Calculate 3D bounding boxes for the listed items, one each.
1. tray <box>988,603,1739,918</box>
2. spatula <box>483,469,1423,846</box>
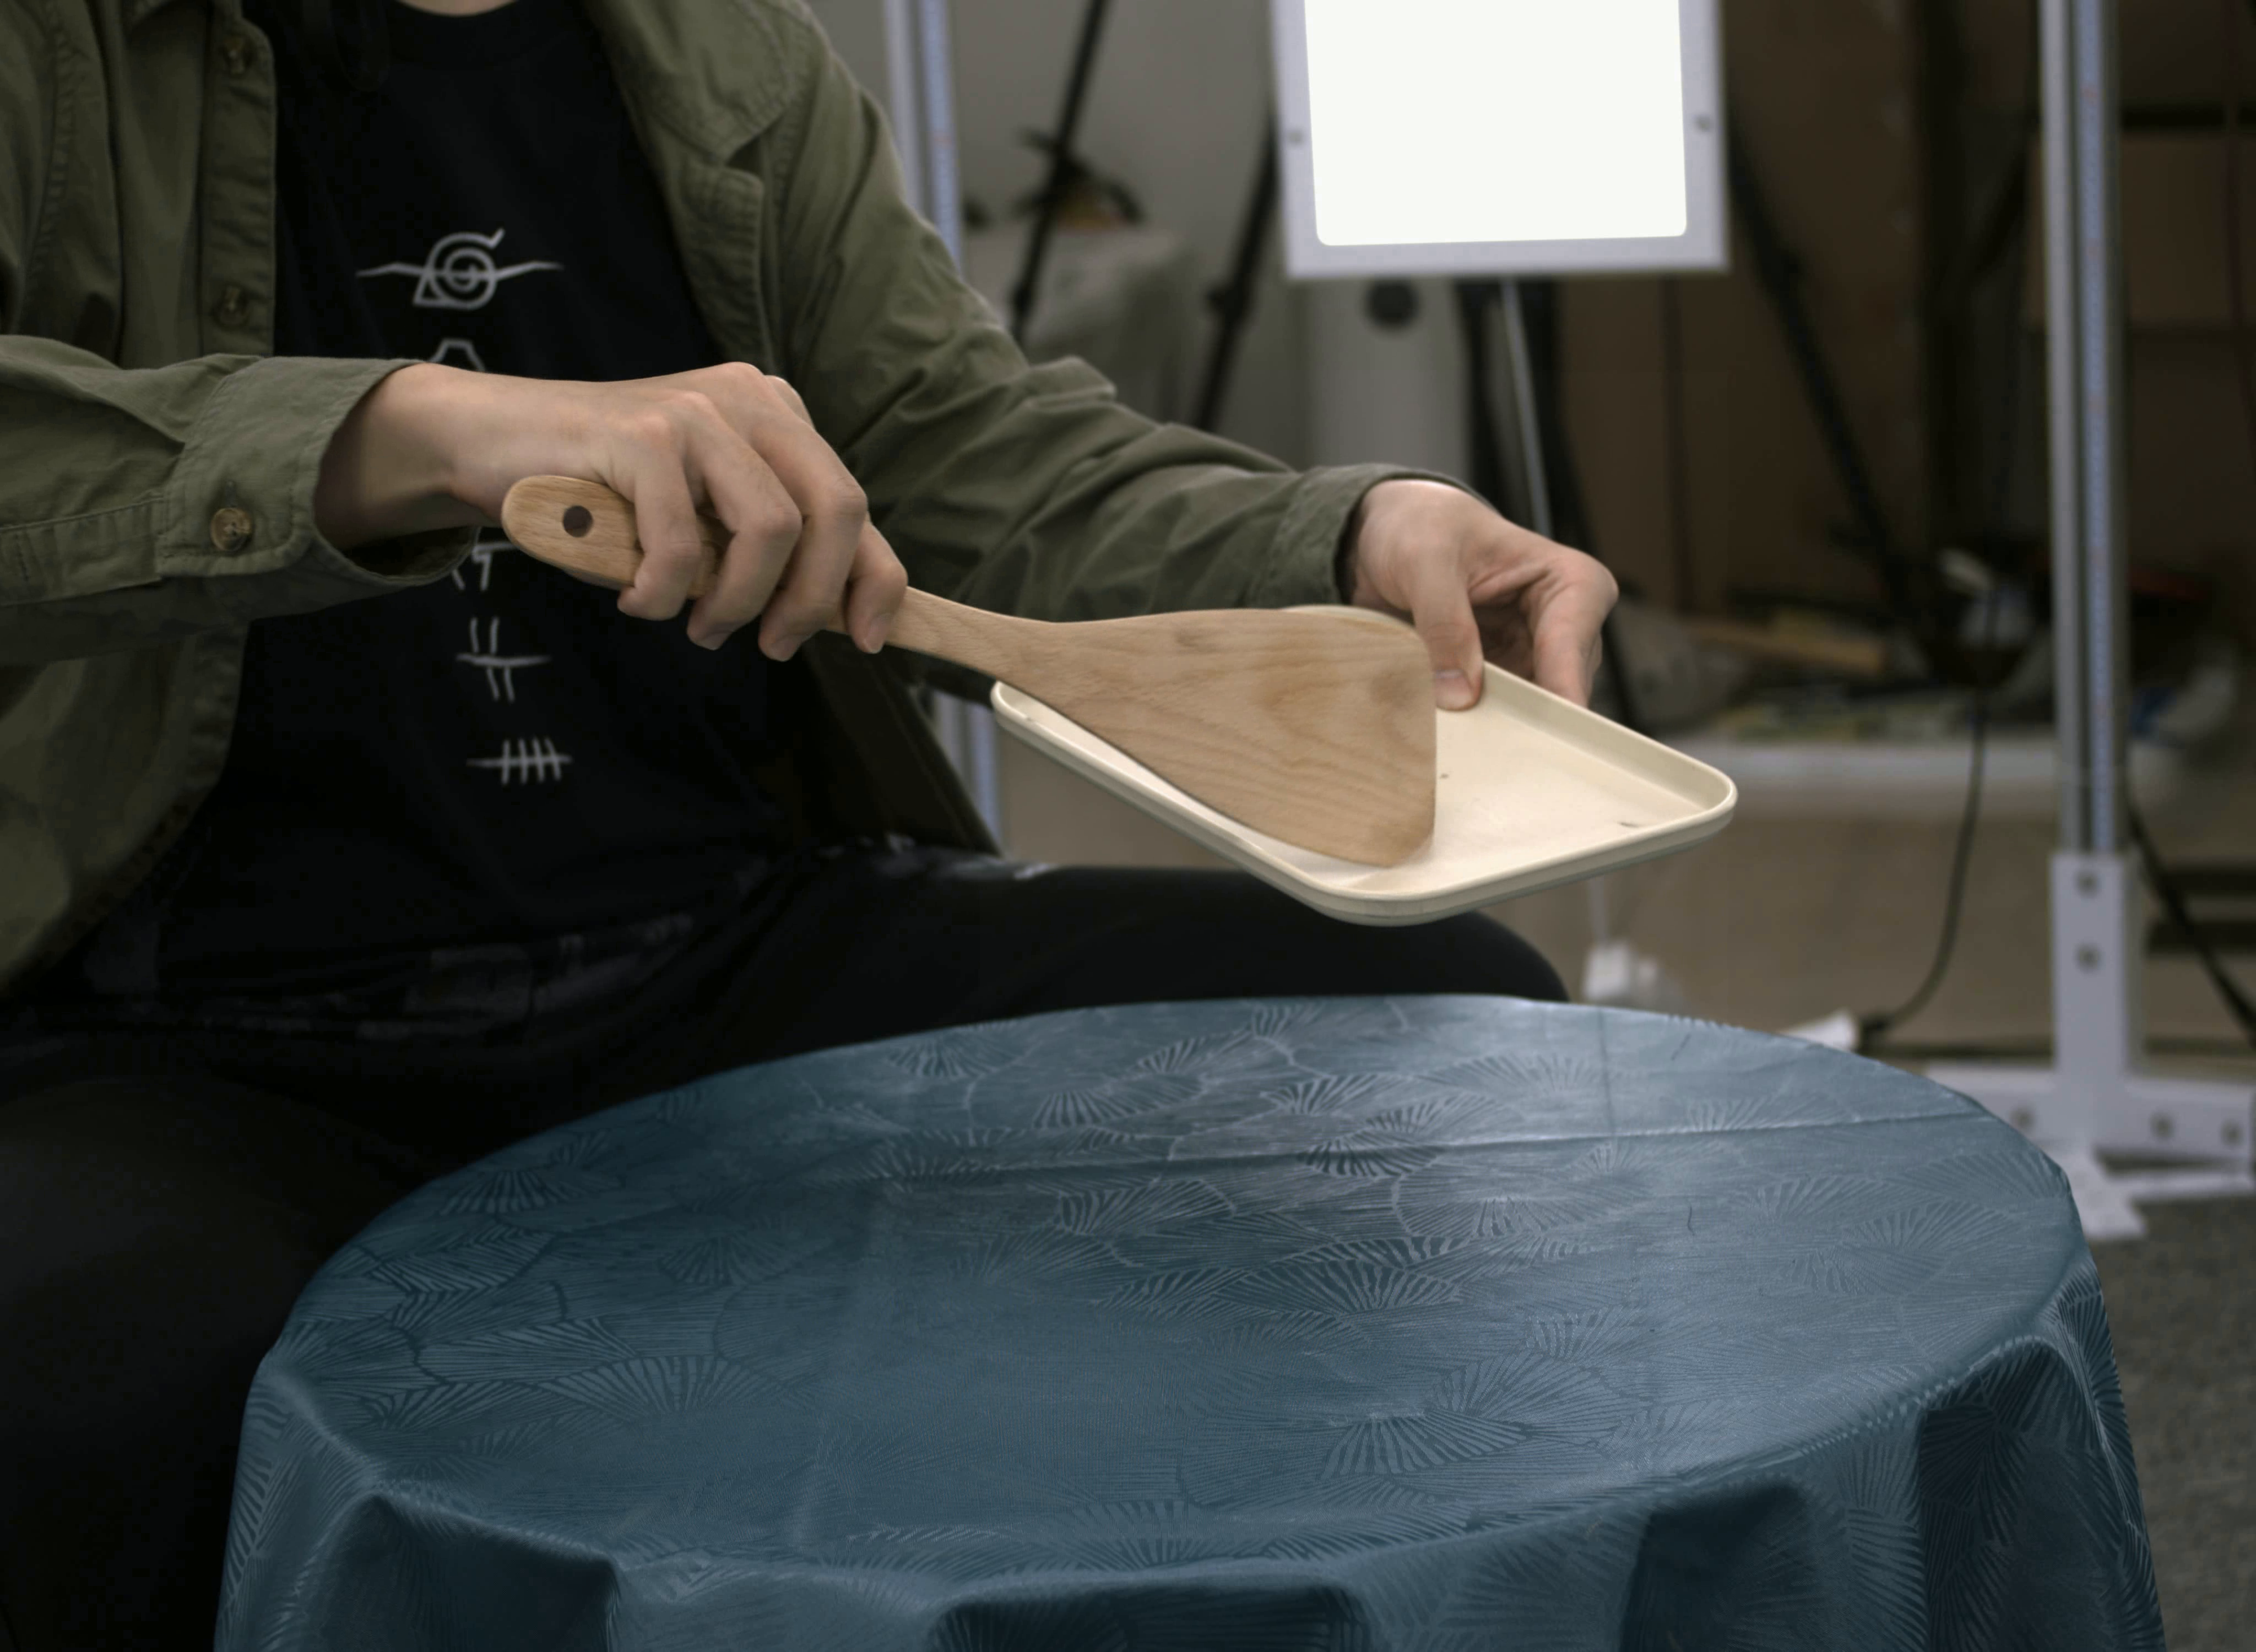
[{"bbox_3d":[0.077,-0.023,1.845,0.167,0.017,0.244,-14,25,-30],"label":"tray"},{"bbox_3d":[-0.048,-0.064,1.724,0.321,0.080,0.017,14,-10,-23],"label":"spatula"}]
